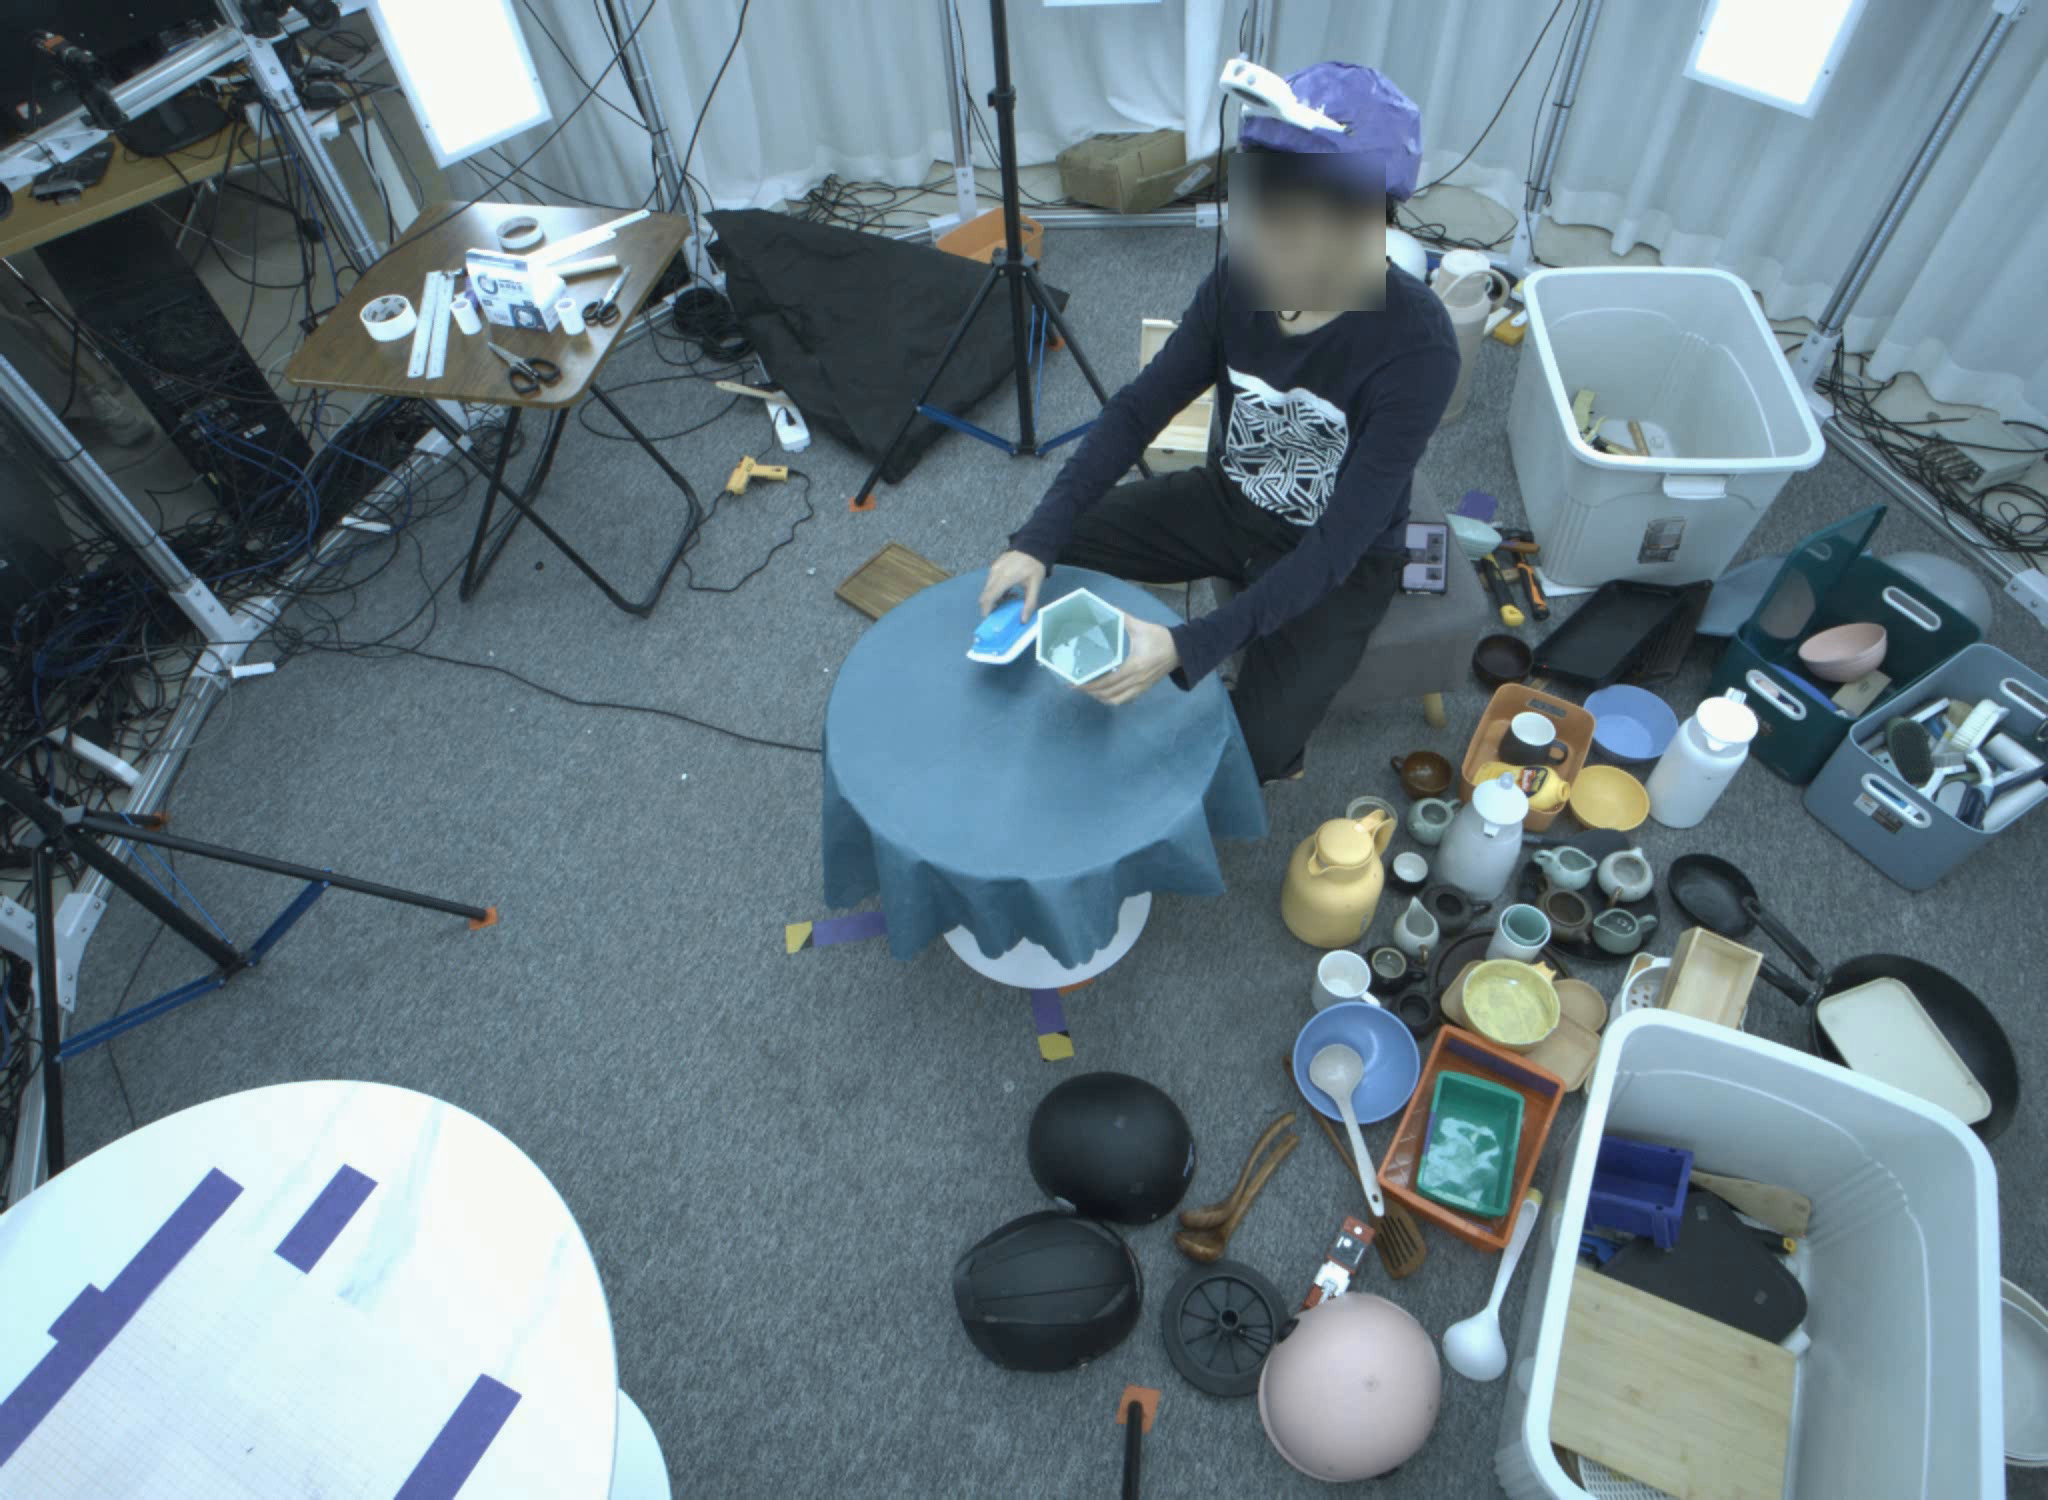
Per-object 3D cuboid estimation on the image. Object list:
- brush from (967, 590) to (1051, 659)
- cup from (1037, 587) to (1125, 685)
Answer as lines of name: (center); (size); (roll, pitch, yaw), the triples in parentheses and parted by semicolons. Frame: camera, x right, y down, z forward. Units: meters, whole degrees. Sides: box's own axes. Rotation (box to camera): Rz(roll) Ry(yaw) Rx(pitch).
brush: (-0.023, -0.193, 1.841); (0.082, 0.057, 0.144); (13, 44, 28)
cup: (0.079, -0.145, 1.710); (0.130, 0.163, 0.115); (31, 88, 4)
